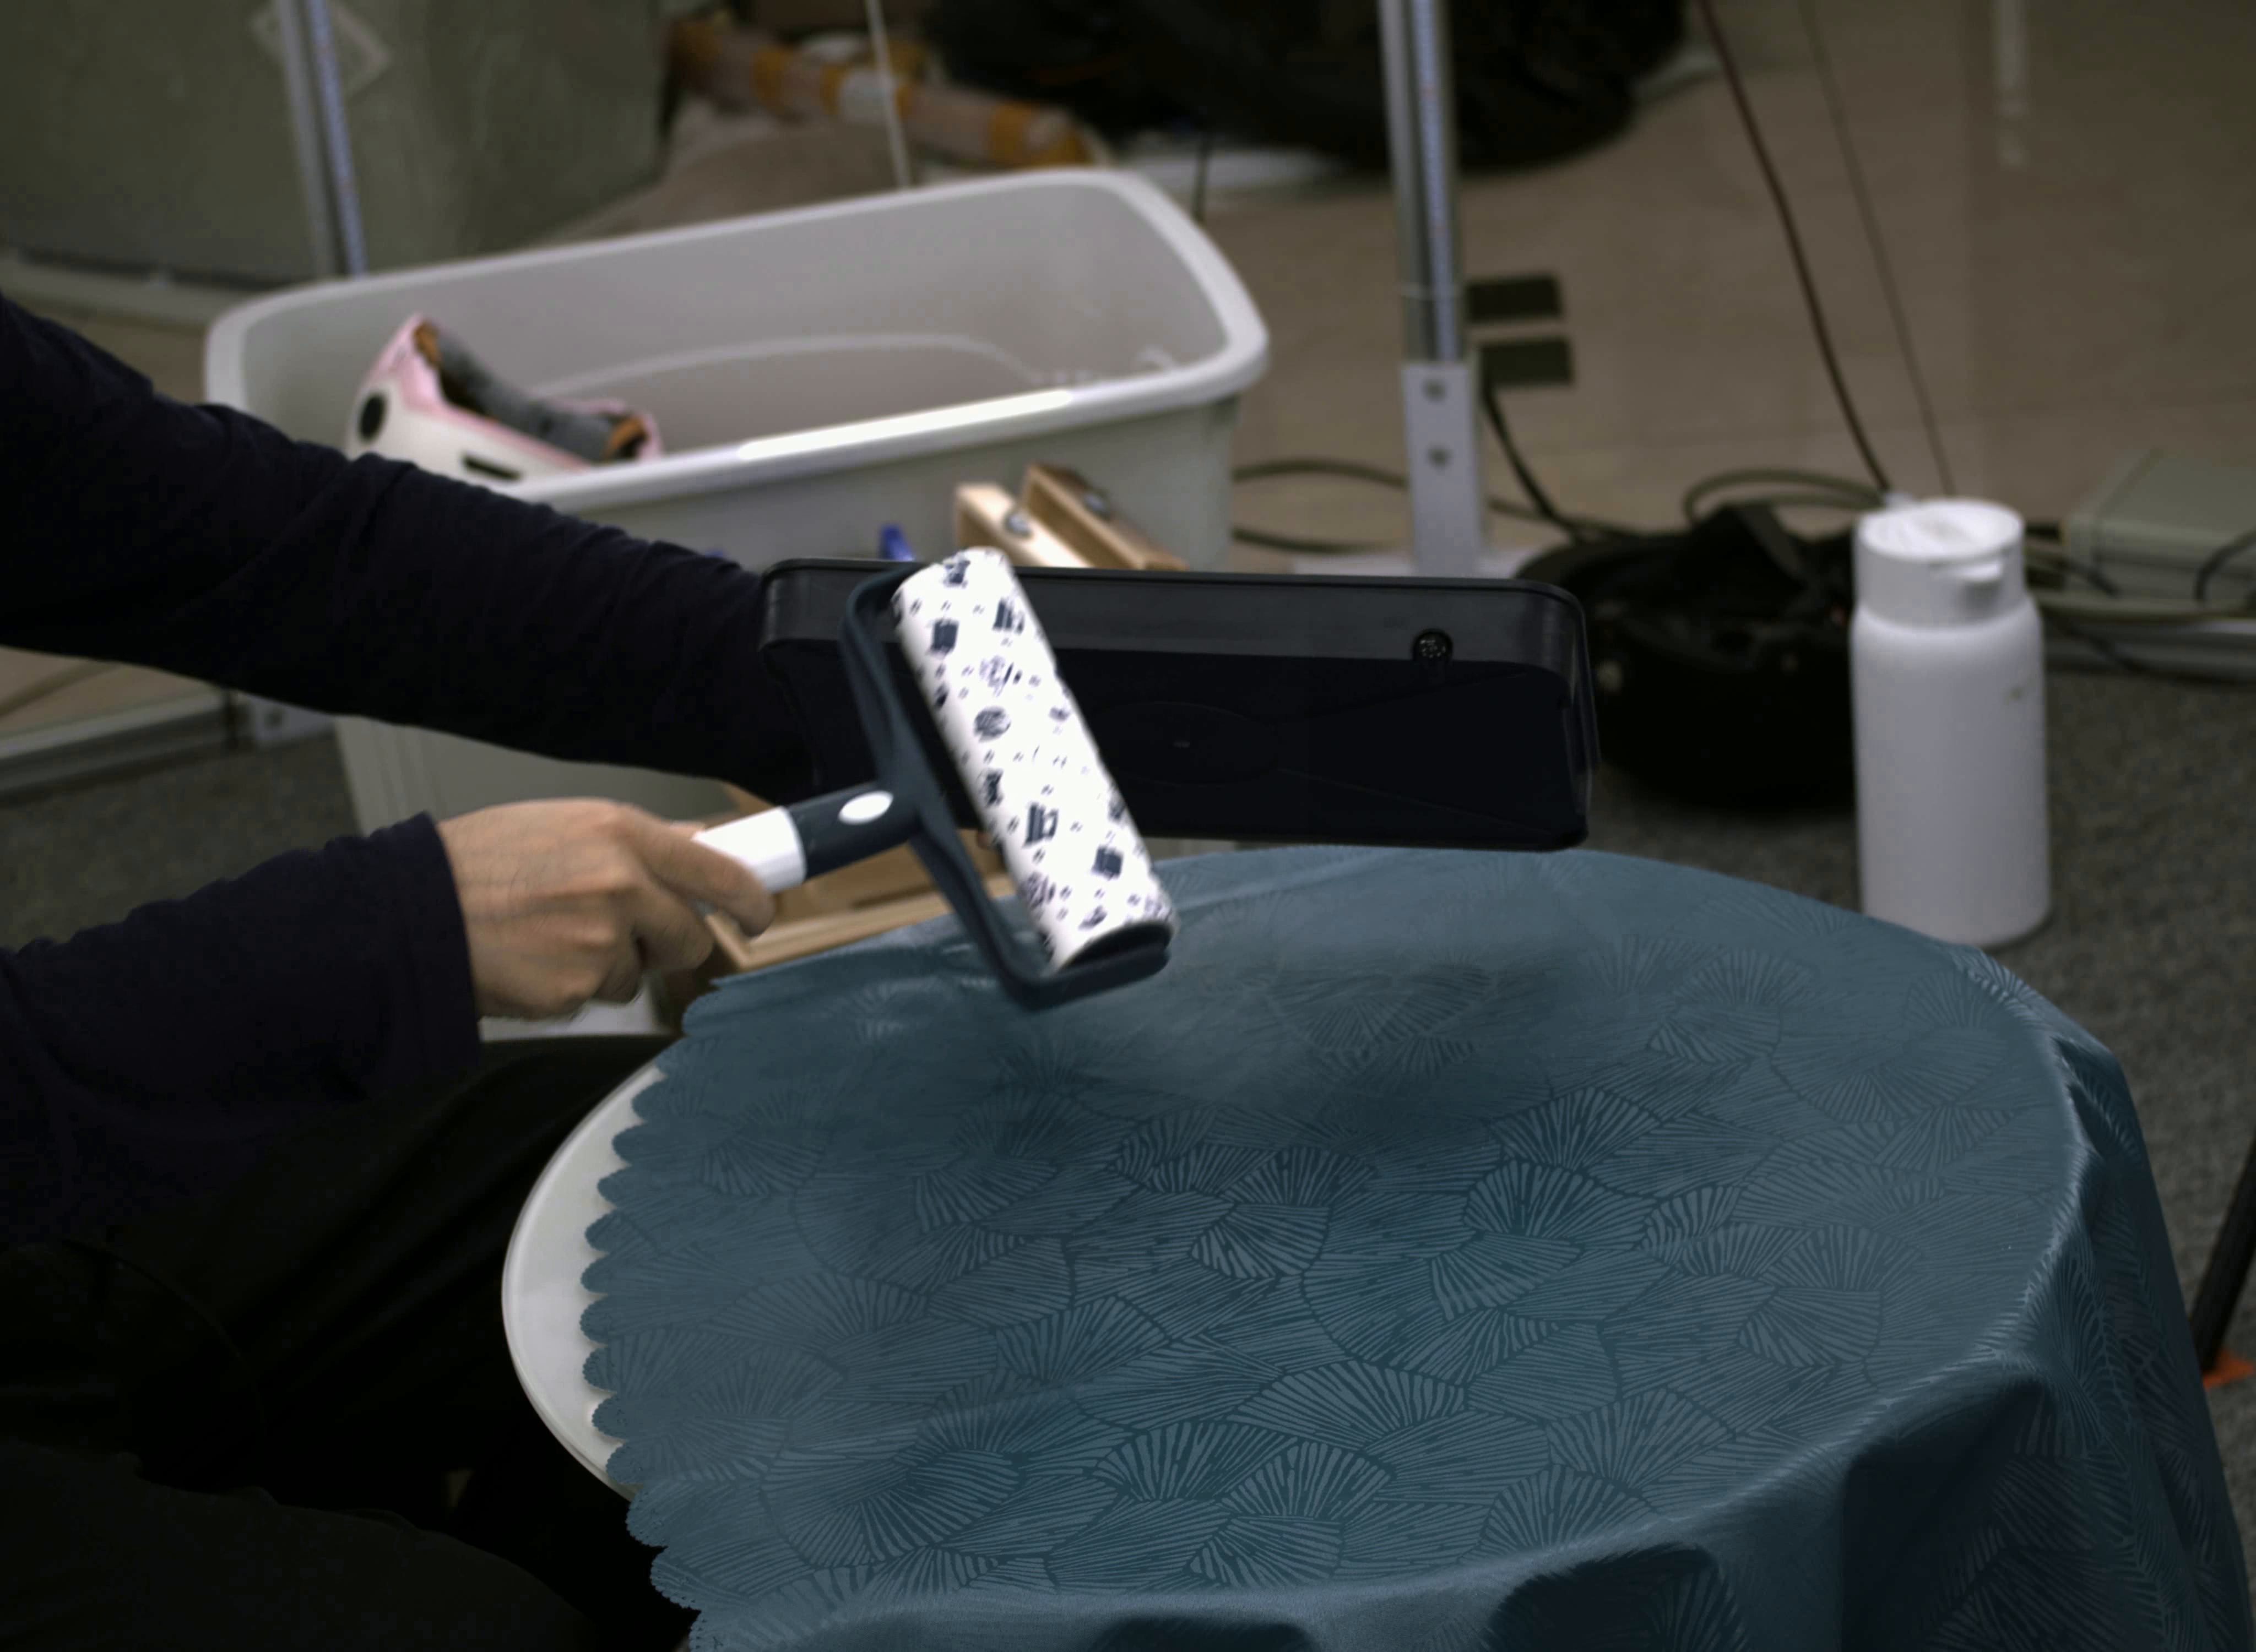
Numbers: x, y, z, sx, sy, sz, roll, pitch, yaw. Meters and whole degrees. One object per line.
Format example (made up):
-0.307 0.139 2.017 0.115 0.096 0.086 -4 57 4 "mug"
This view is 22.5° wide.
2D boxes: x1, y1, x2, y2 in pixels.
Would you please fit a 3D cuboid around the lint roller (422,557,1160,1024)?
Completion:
-0.130 0.014 1.995 0.246 0.051 0.174 -19 68 -16 "lint roller"

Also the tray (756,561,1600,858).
0.021 -0.044 2.212 0.317 0.187 0.036 2 67 9 "tray"
